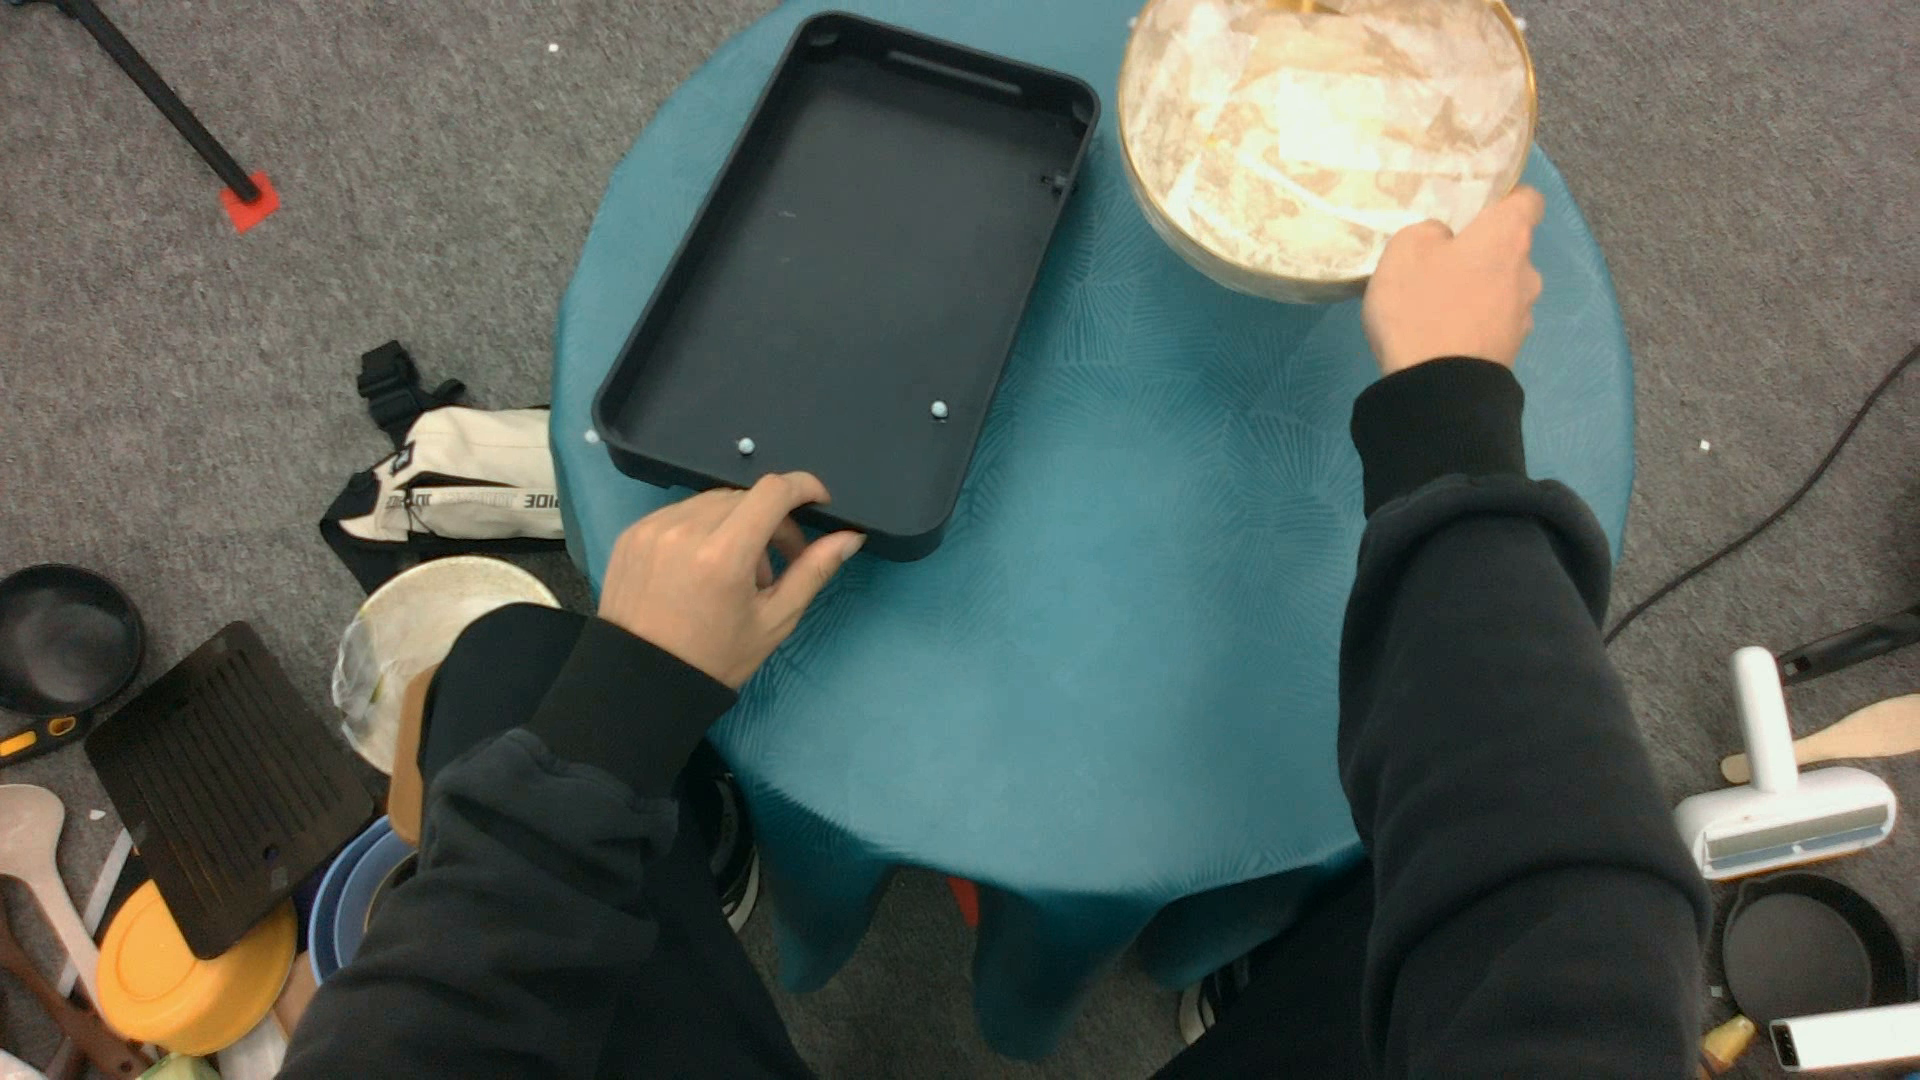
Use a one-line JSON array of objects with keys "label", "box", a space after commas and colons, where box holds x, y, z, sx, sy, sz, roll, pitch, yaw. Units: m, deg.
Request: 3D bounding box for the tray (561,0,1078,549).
[{"label": "tray", "box": [-0.064, -0.156, 0.736, 0.184, 0.037, 0.319, 19, 62, 3]}]

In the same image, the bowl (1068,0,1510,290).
[{"label": "bowl", "box": [0.160, -0.210, 0.708, 0.214, 0.094, 0.215, 0, 75, 2]}]
